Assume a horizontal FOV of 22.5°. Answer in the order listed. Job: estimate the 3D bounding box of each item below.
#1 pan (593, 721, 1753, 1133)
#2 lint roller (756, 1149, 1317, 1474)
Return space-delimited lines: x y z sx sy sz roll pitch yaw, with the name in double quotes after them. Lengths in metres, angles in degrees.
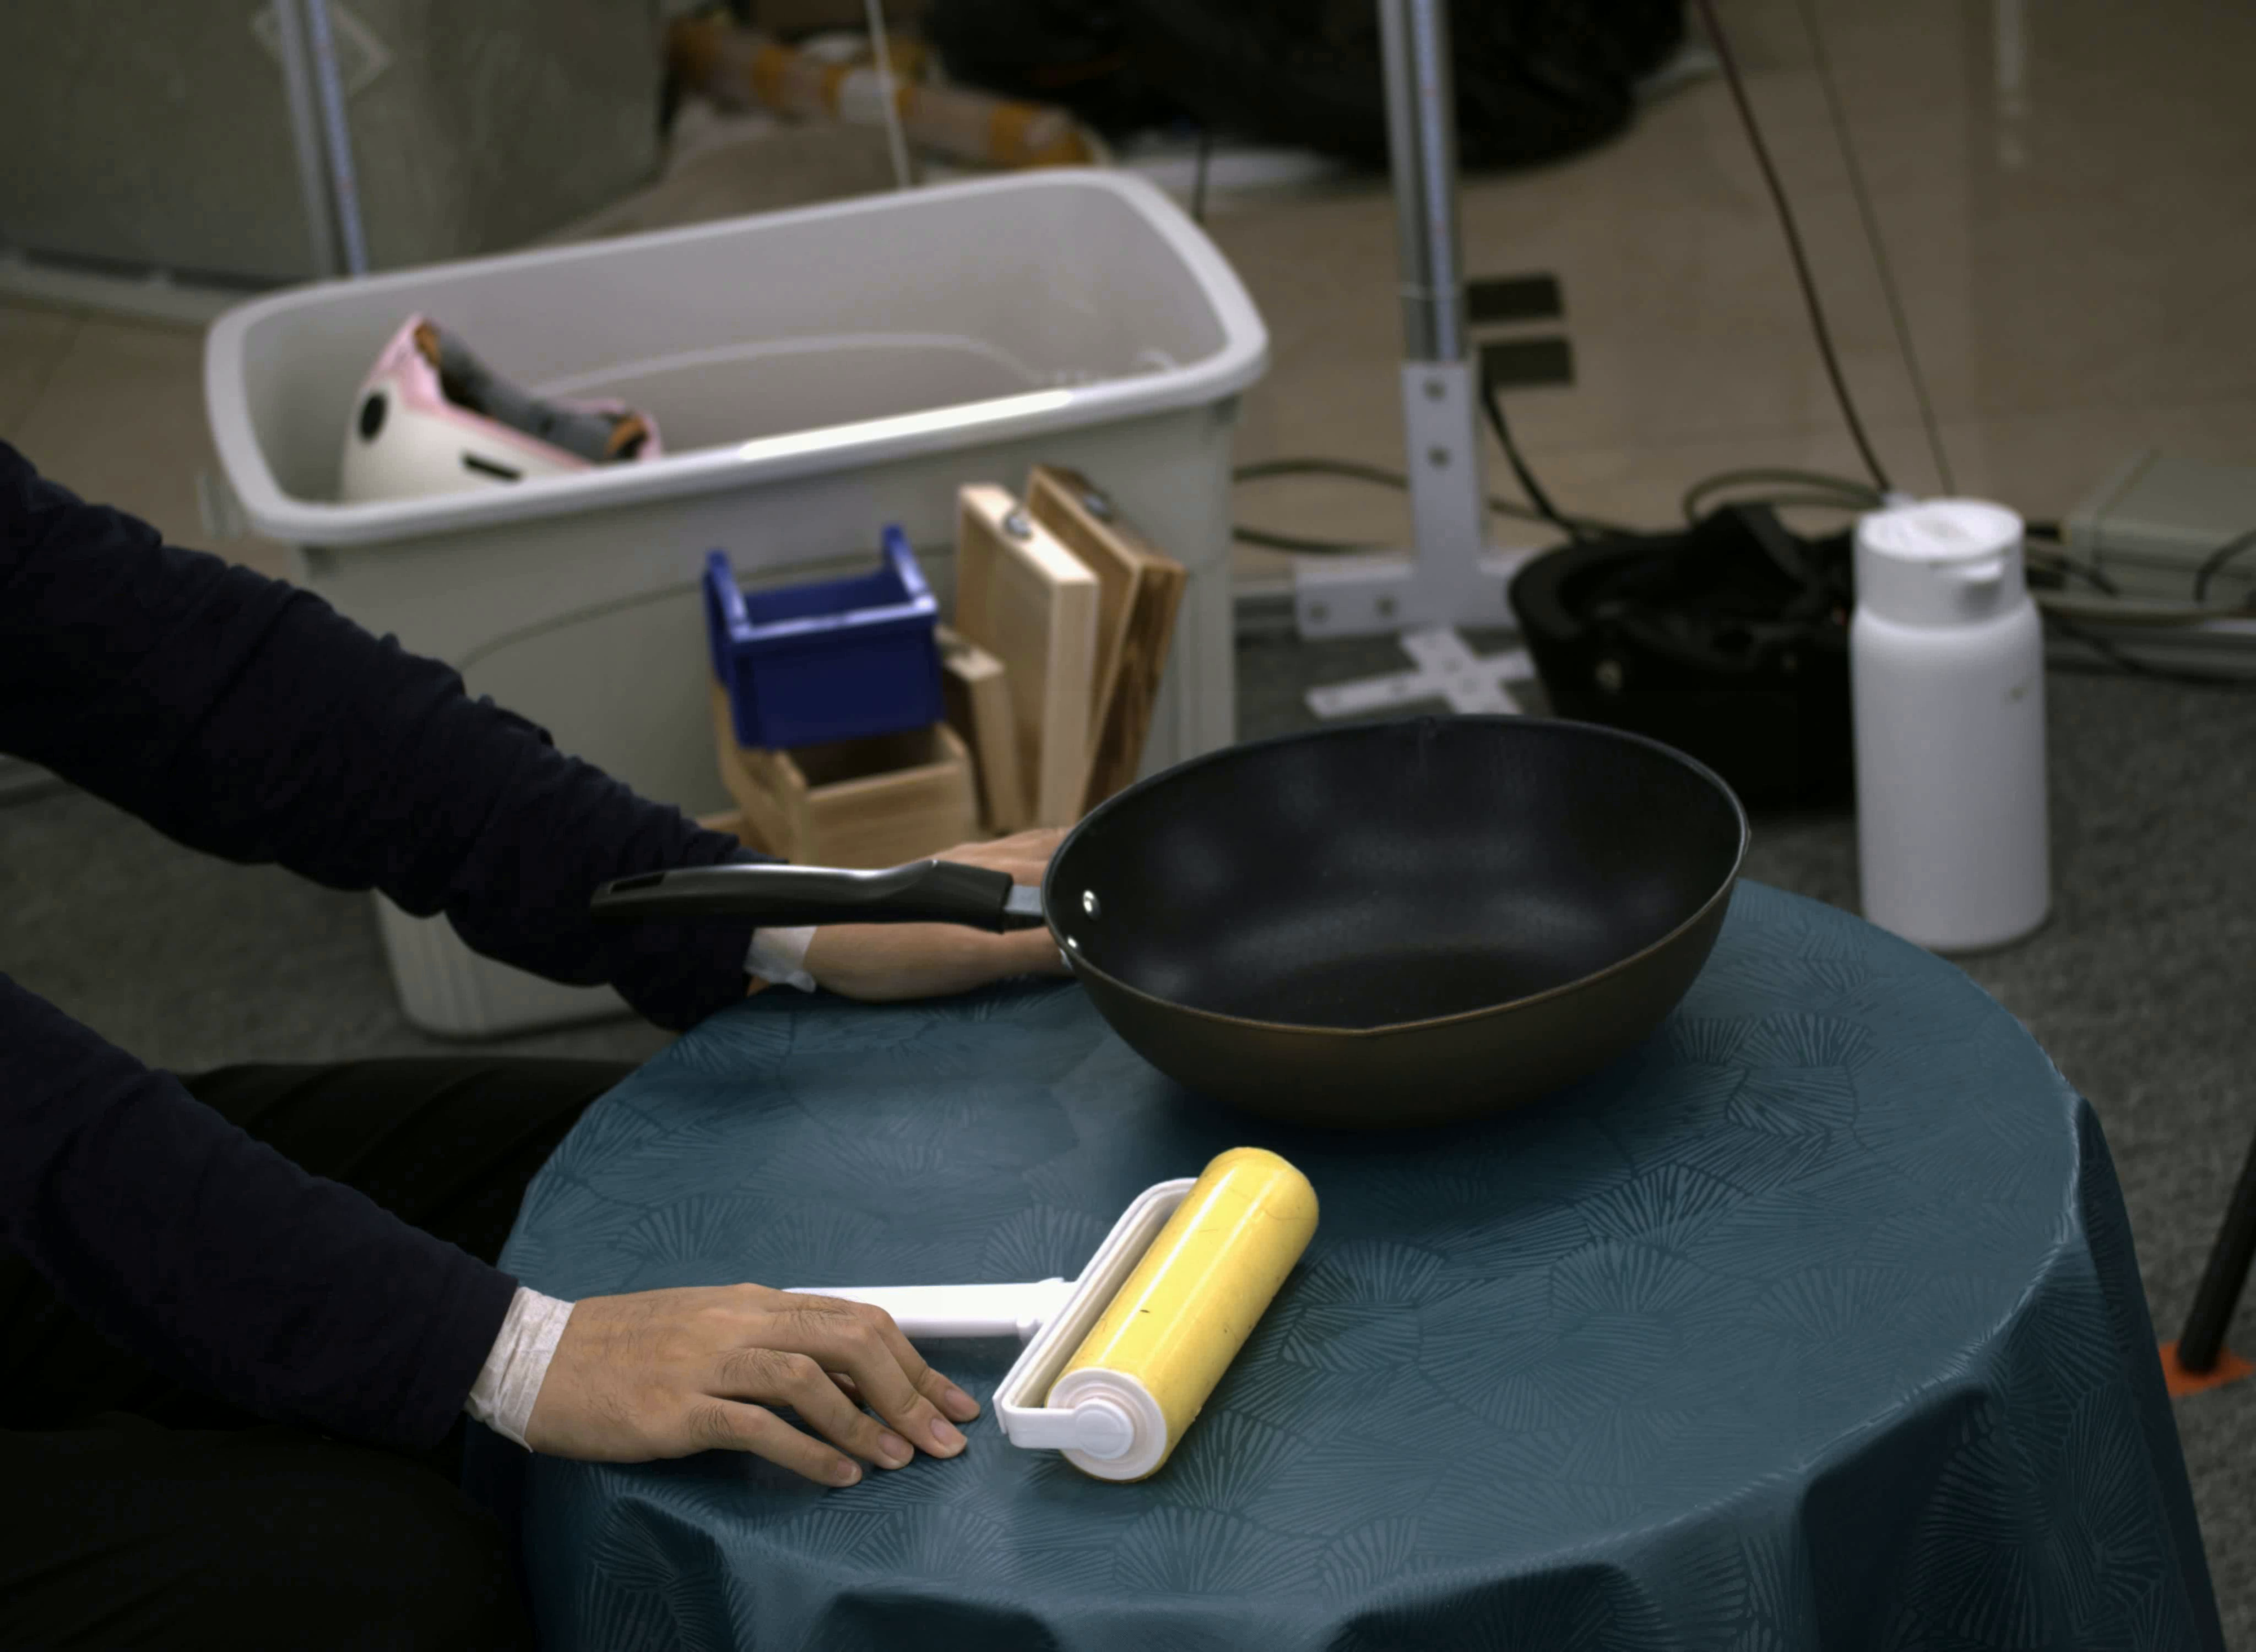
0.017 0.052 2.236 0.462 0.088 0.284 -2 24 10 "pan"
-0.047 0.169 2.040 0.191 0.052 0.172 4 26 19 "lint roller"
